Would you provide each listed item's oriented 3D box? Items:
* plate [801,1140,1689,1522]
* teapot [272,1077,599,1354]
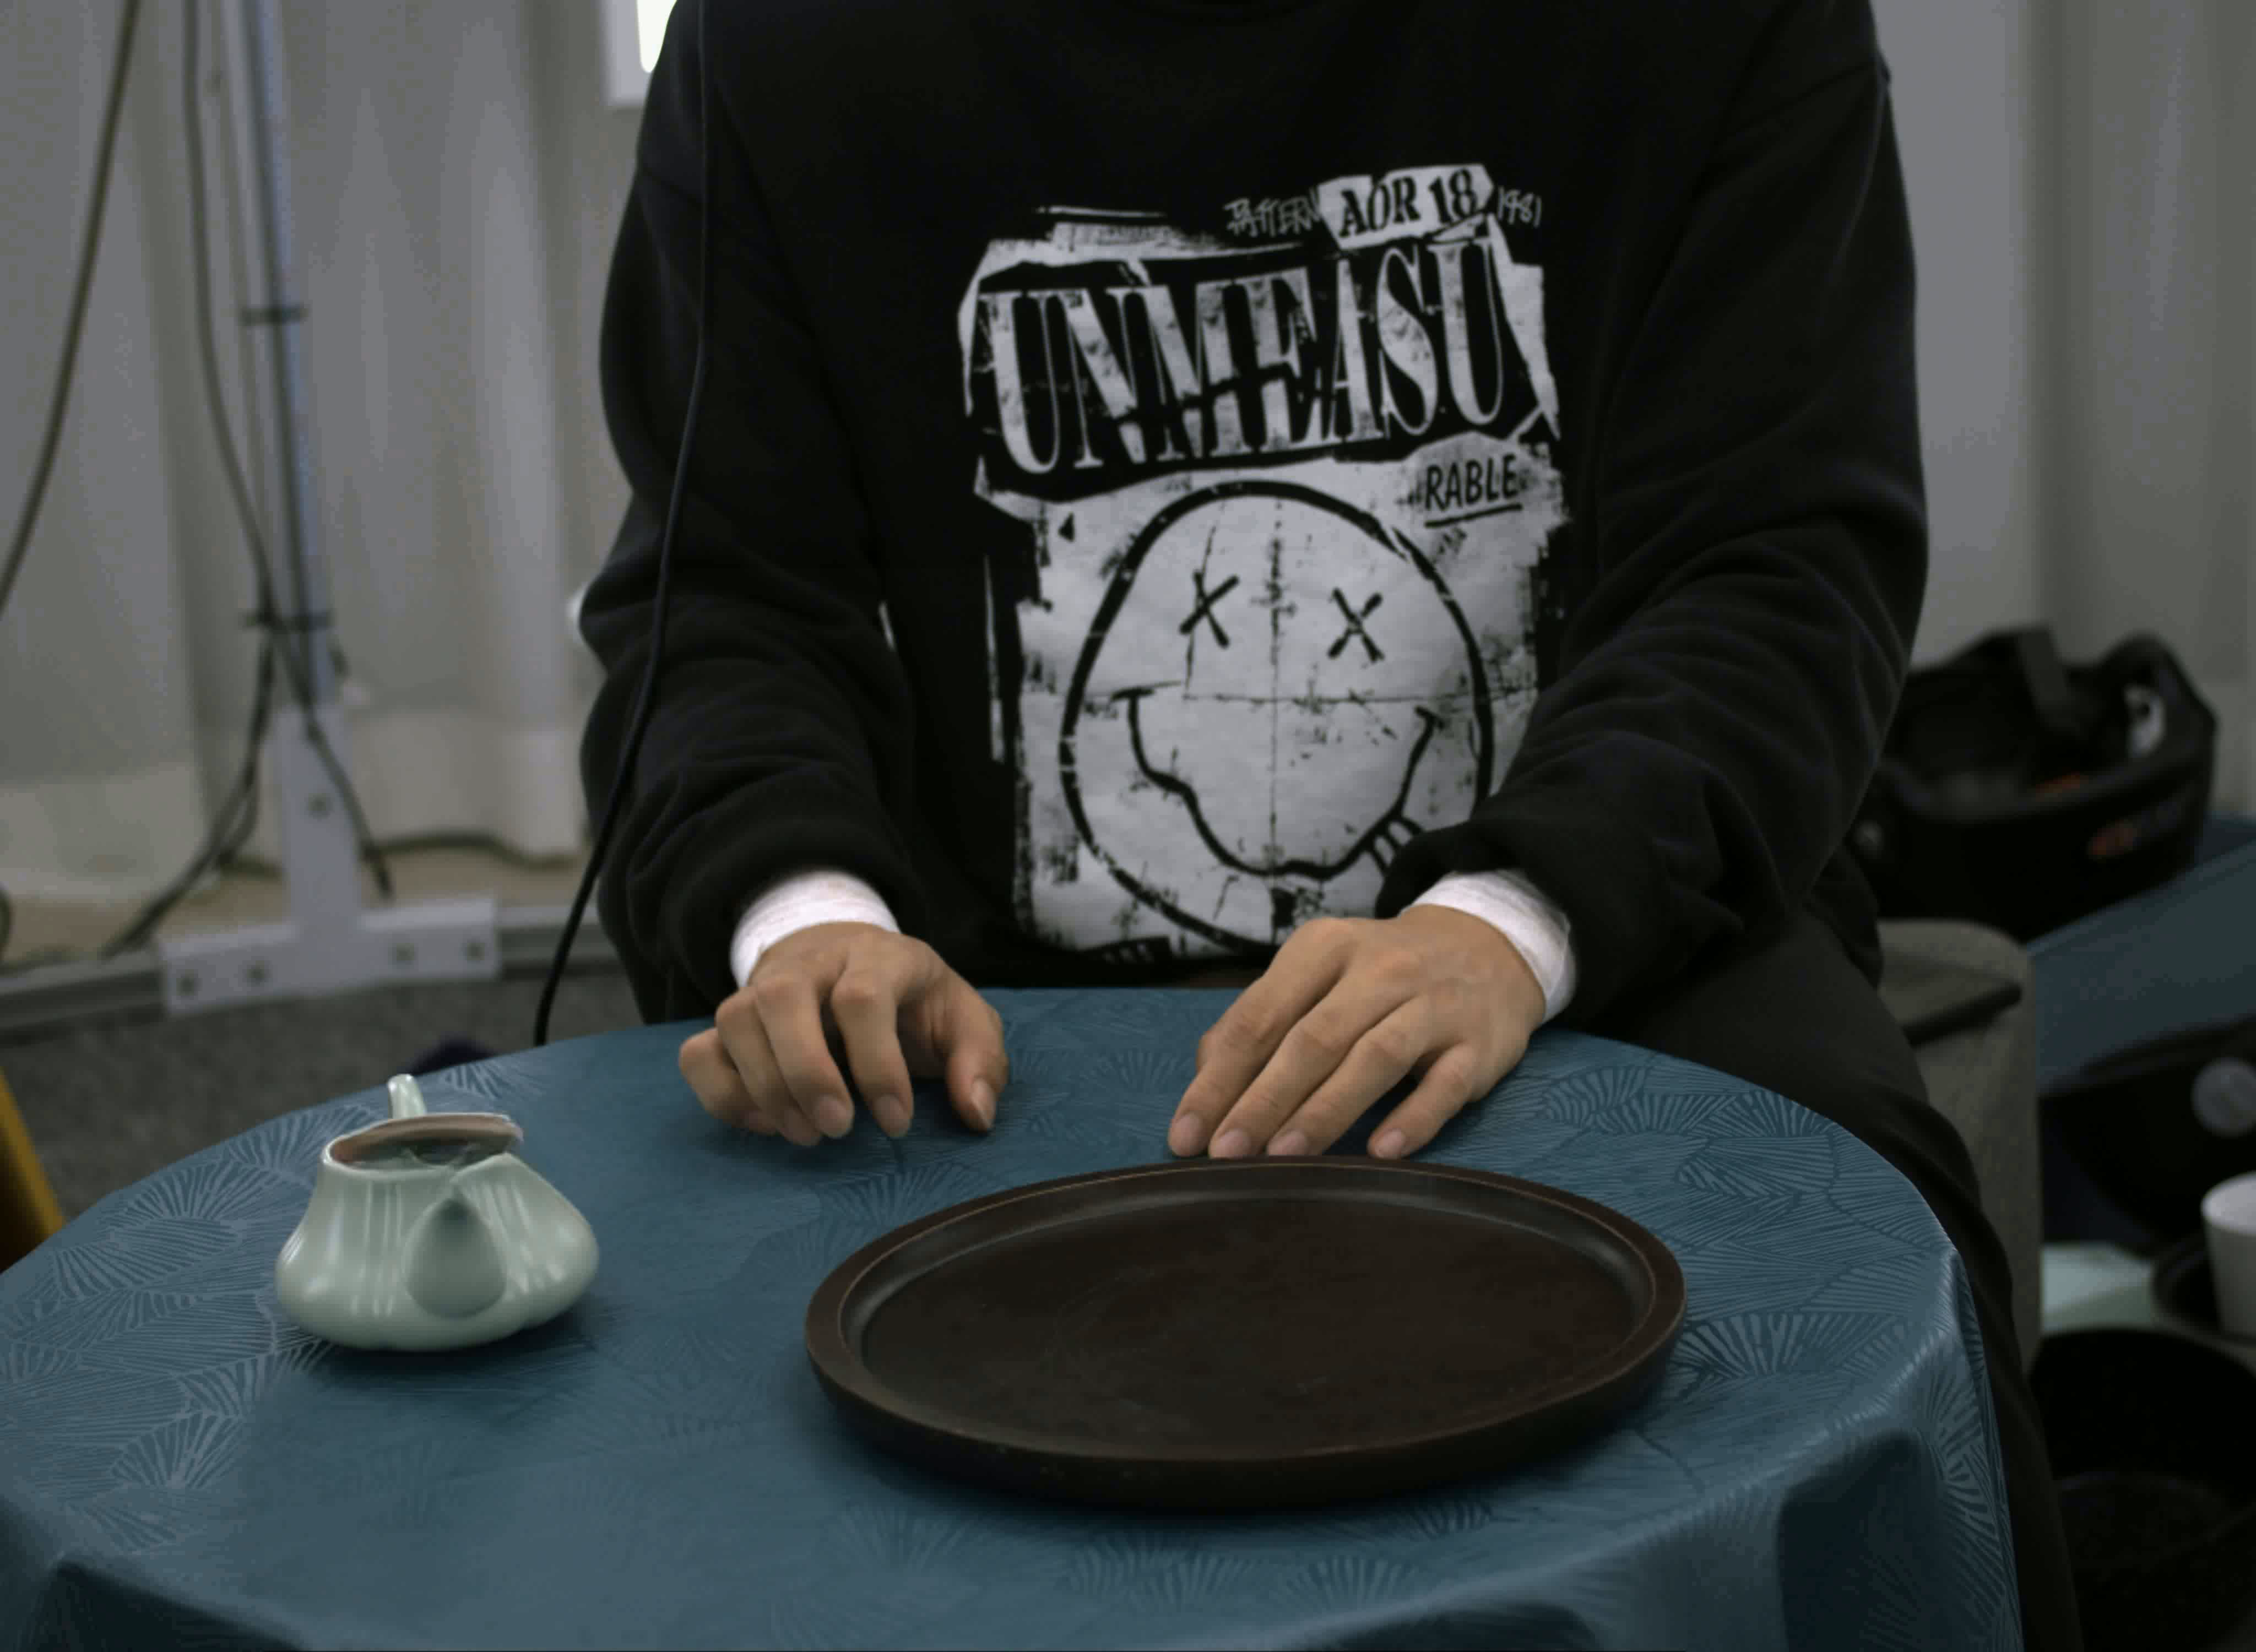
[{"bbox_3d":[0.033,0.143,1.554,0.254,0.029,0.256,-4,15,1],"label":"plate"},{"bbox_3d":[-0.207,0.118,1.624,0.096,0.061,0.138,-8,16,-16],"label":"teapot"}]
